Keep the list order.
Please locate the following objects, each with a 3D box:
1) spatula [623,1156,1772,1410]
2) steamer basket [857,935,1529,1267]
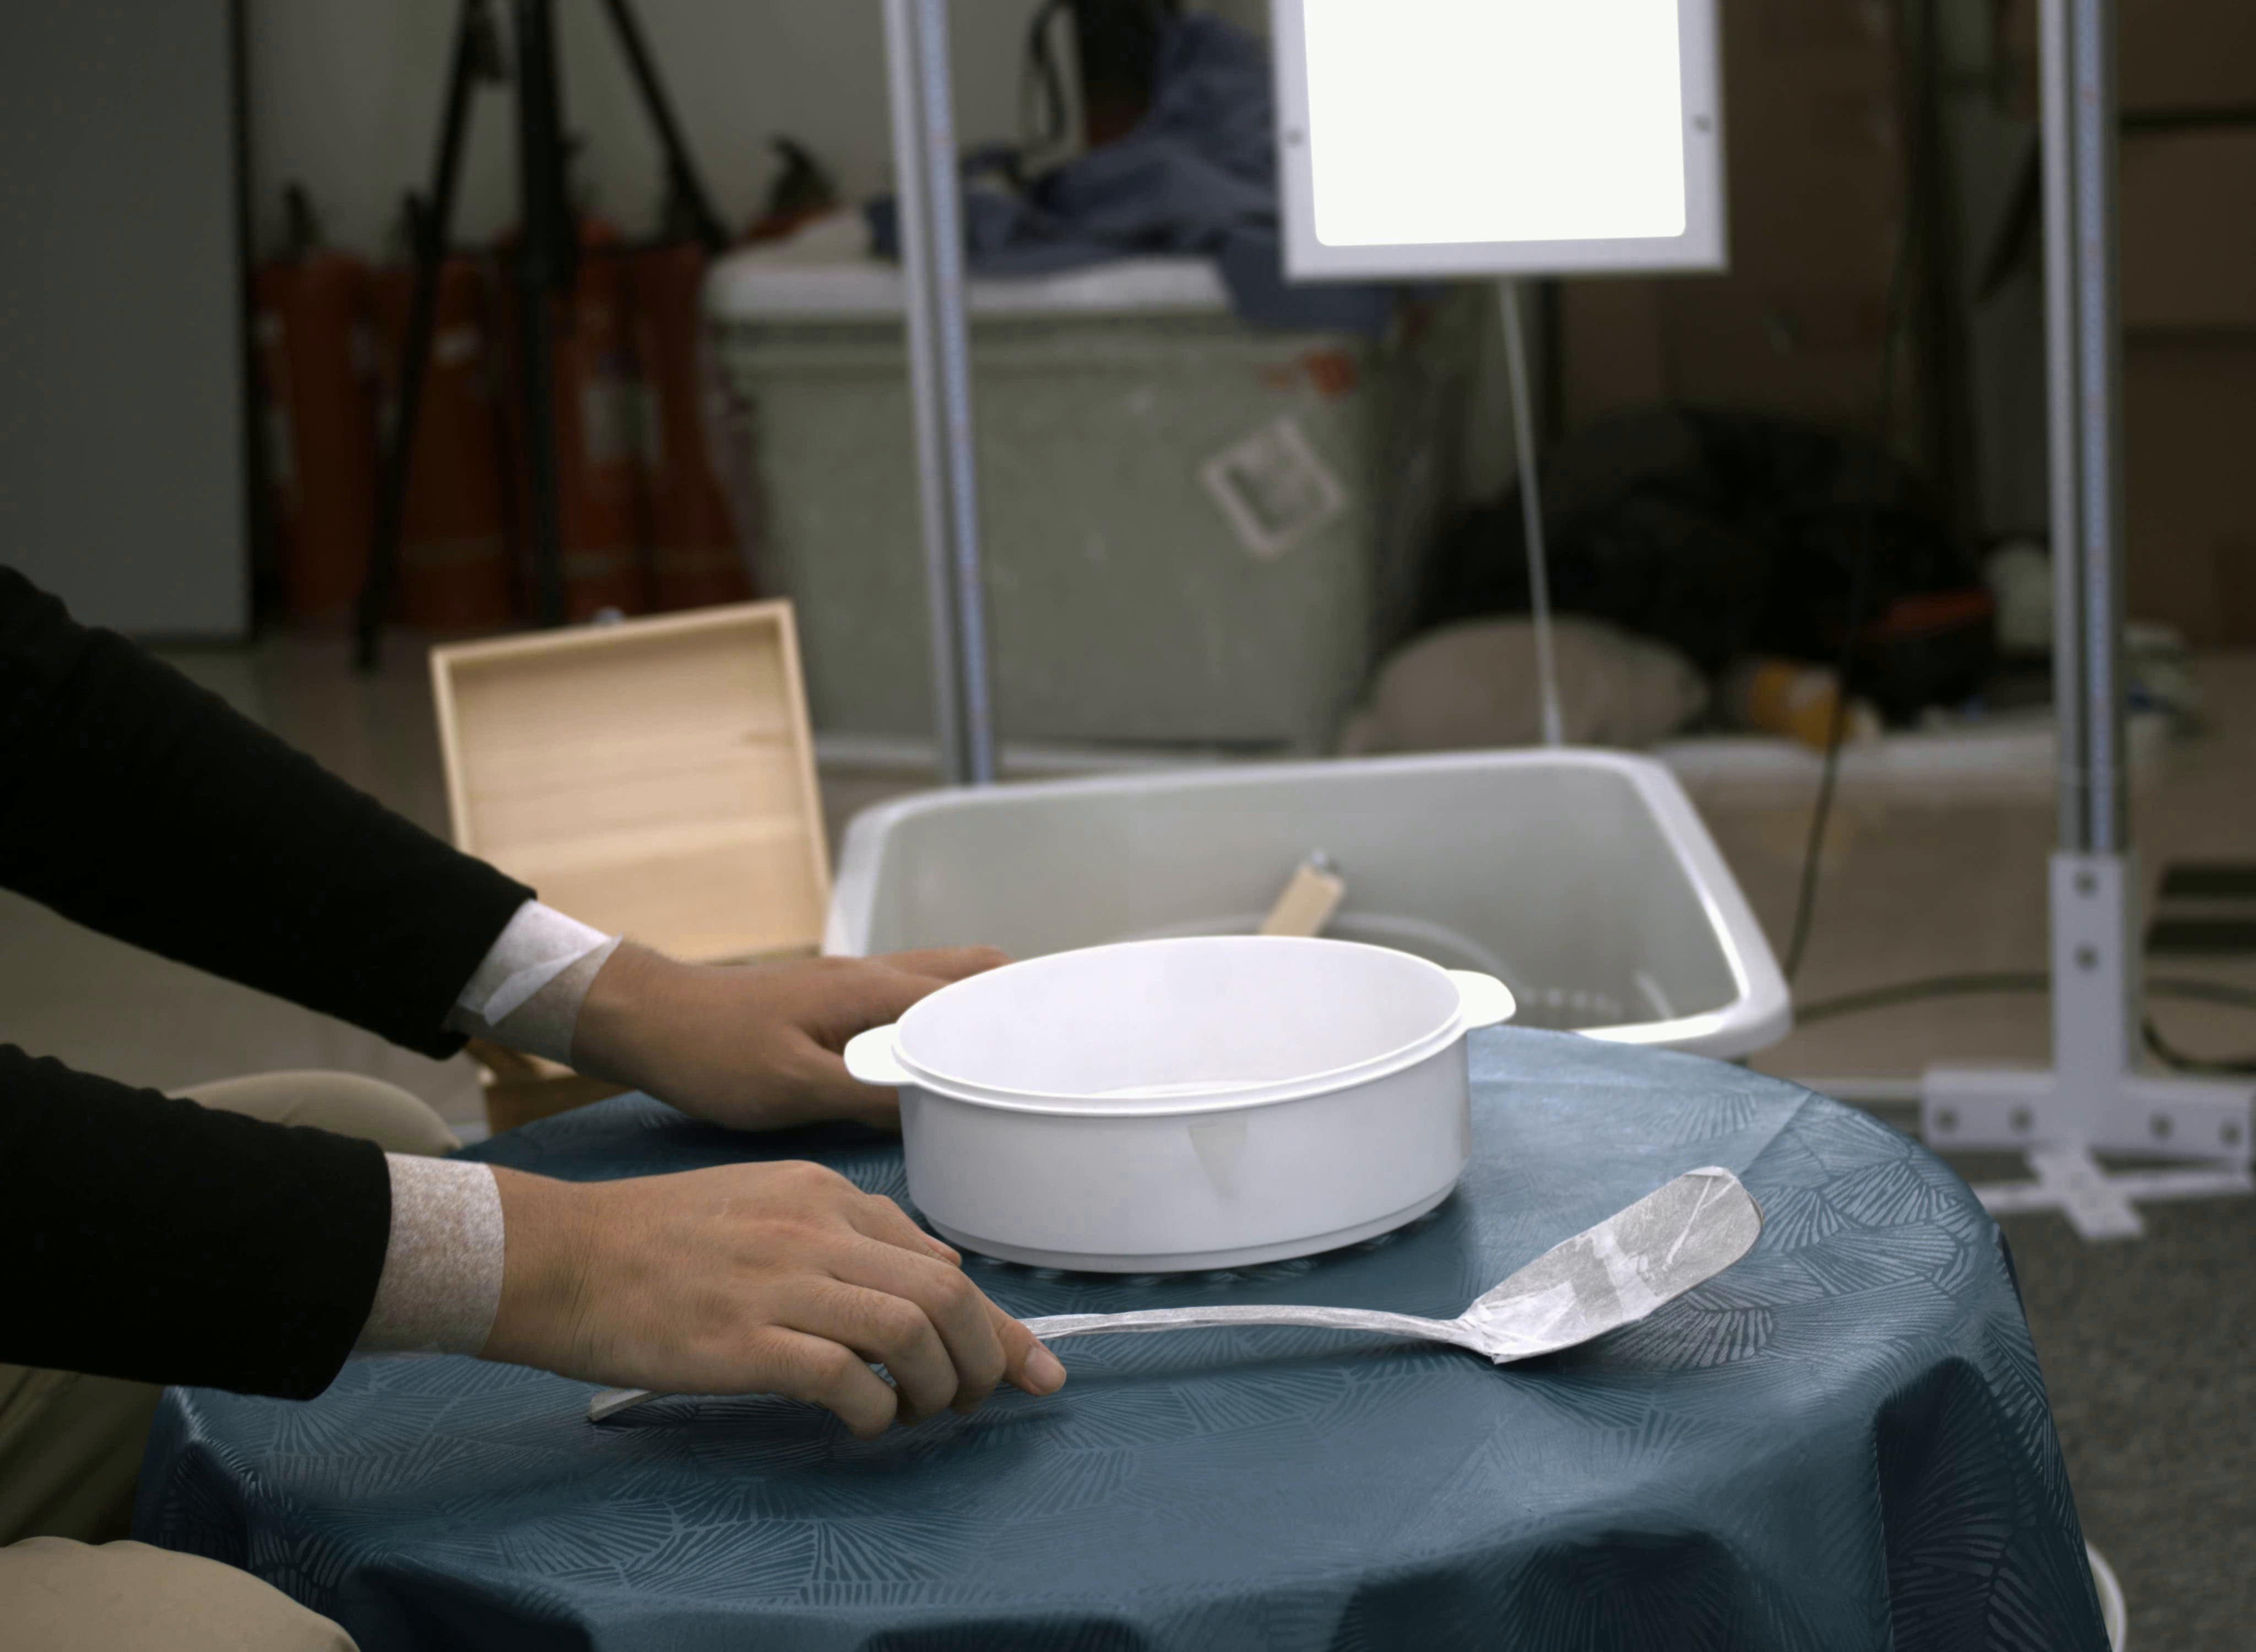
[{"bbox_3d":[0.020,0.149,1.718,0.364,0.045,0.098,-5,16,2],"label":"spatula"},{"bbox_3d":[0.025,0.094,1.876,0.229,0.069,0.202,-7,13,-2],"label":"steamer basket"}]
